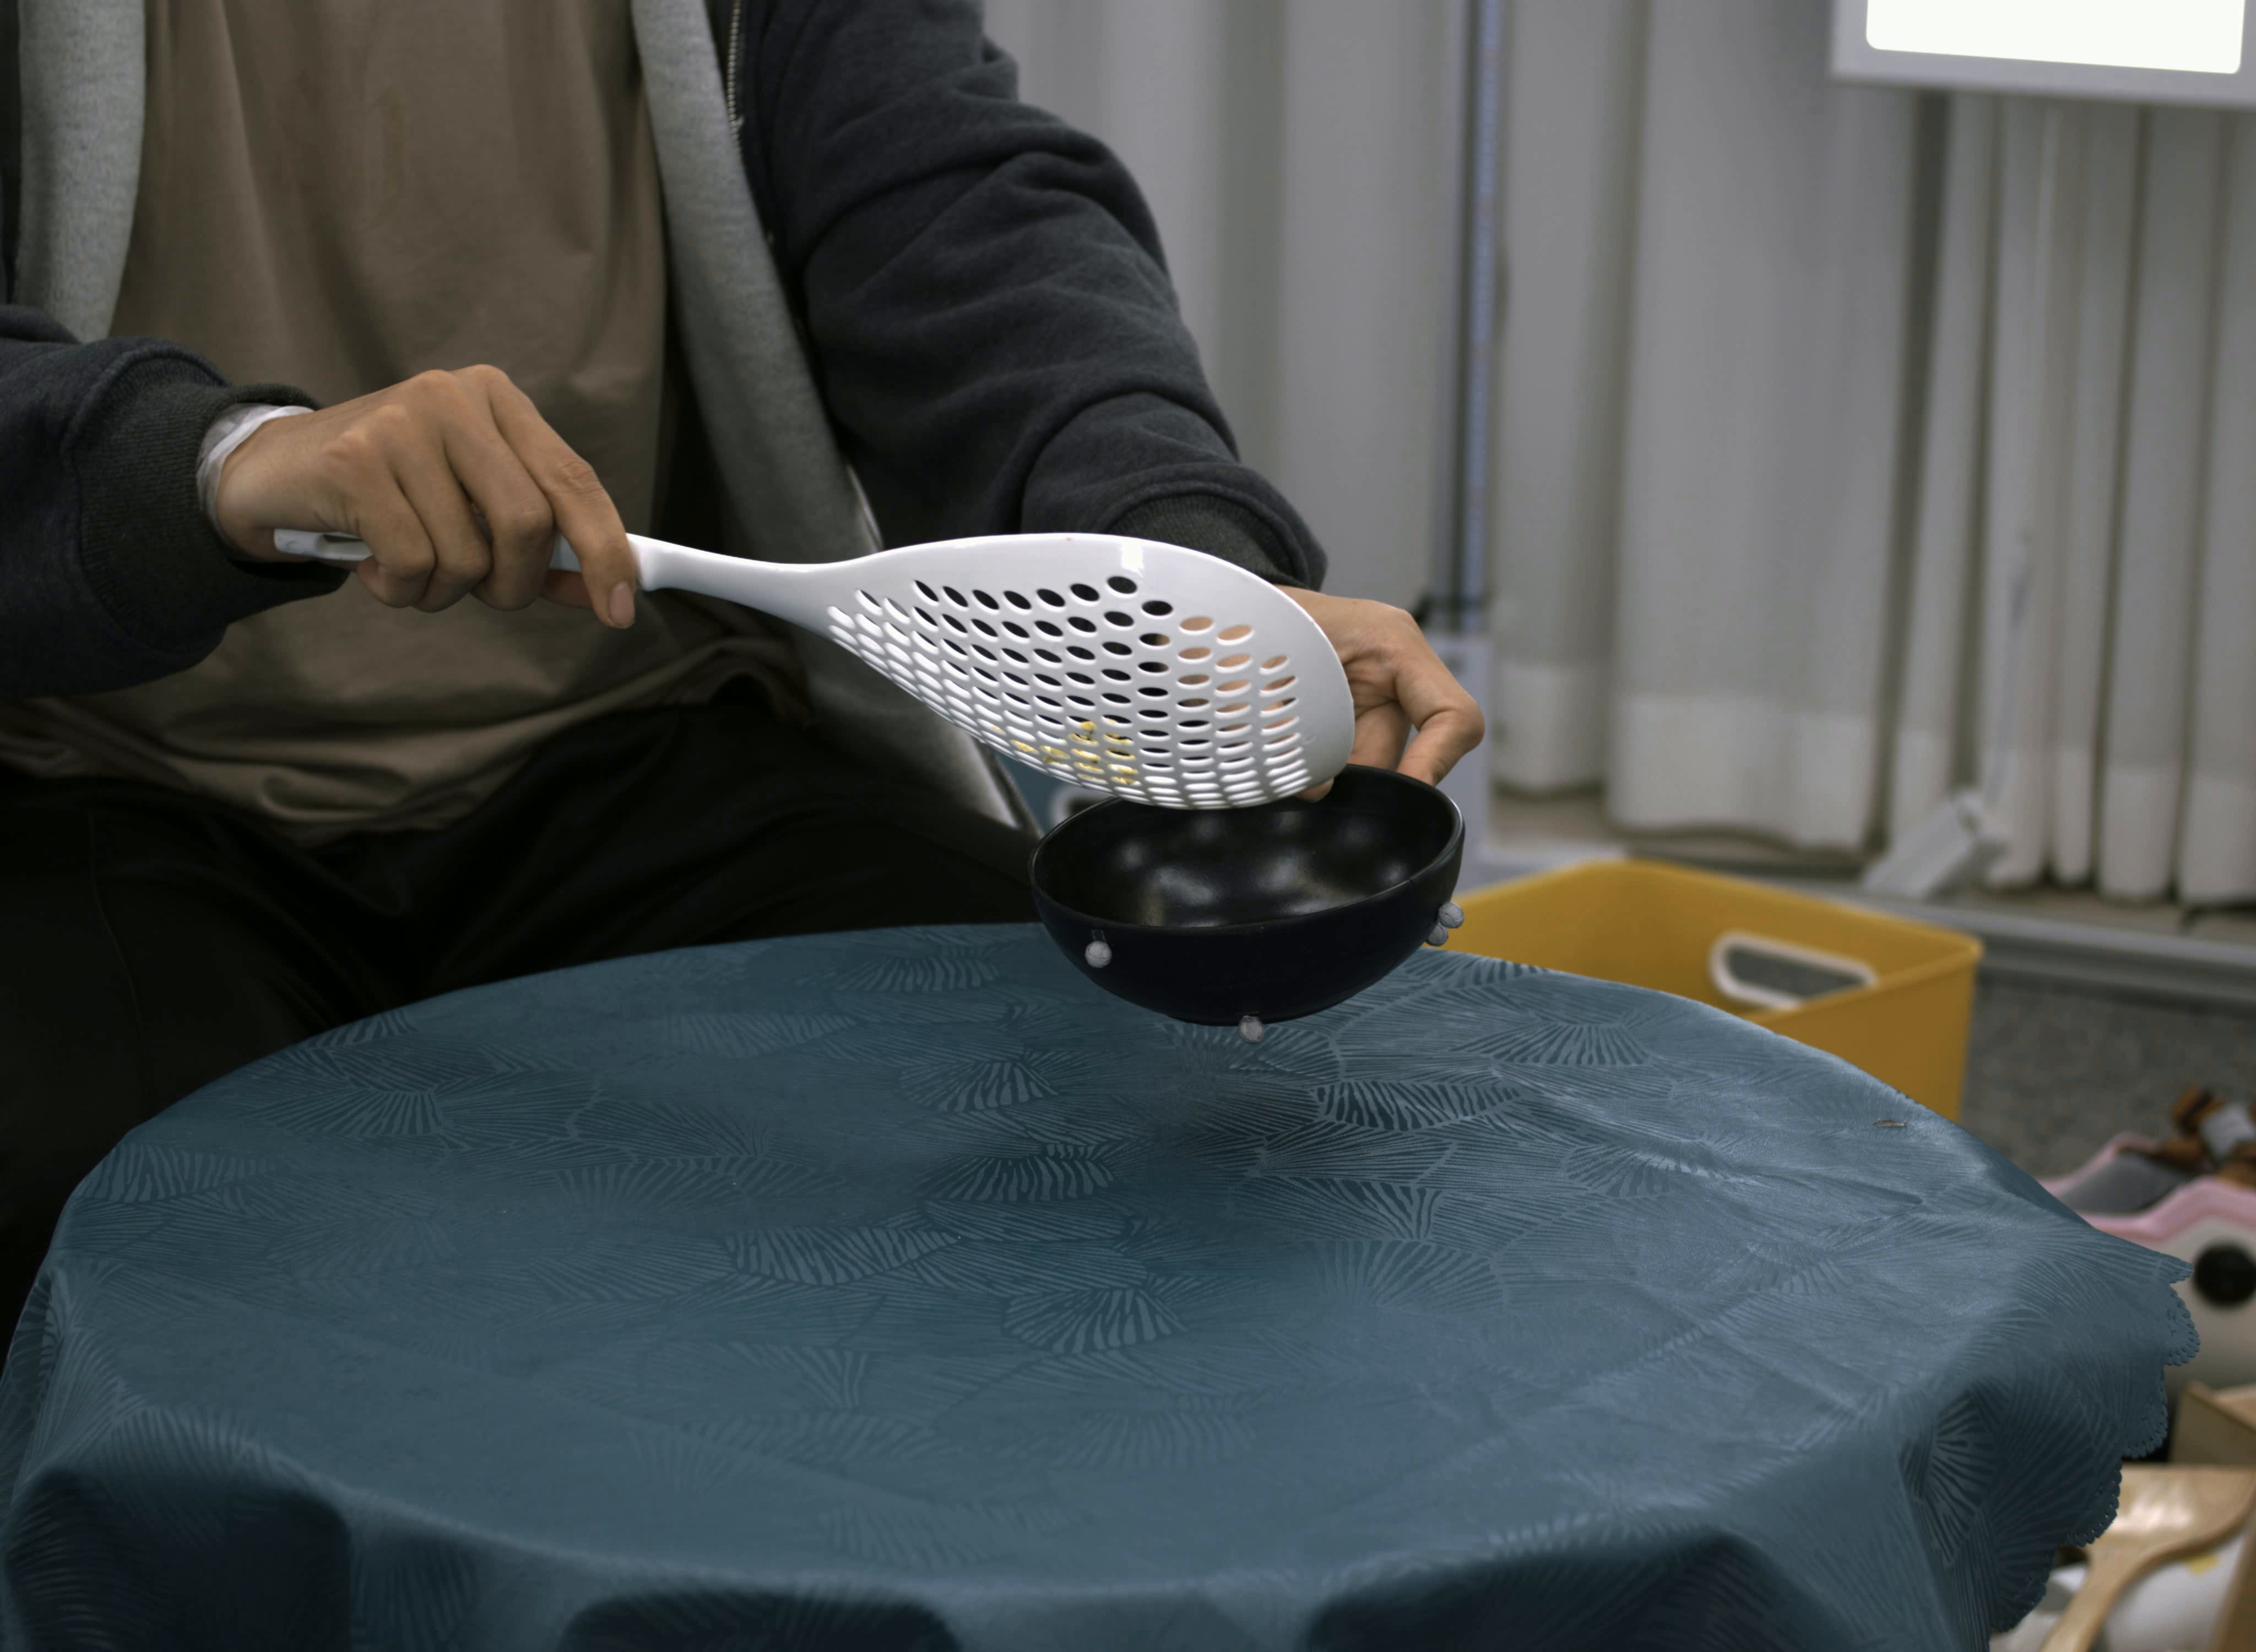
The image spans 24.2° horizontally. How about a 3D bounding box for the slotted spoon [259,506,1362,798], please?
[{"bbox_3d":[-0.099,-0.065,1.622,0.345,0.138,0.050,15,64,12],"label":"slotted spoon"}]
